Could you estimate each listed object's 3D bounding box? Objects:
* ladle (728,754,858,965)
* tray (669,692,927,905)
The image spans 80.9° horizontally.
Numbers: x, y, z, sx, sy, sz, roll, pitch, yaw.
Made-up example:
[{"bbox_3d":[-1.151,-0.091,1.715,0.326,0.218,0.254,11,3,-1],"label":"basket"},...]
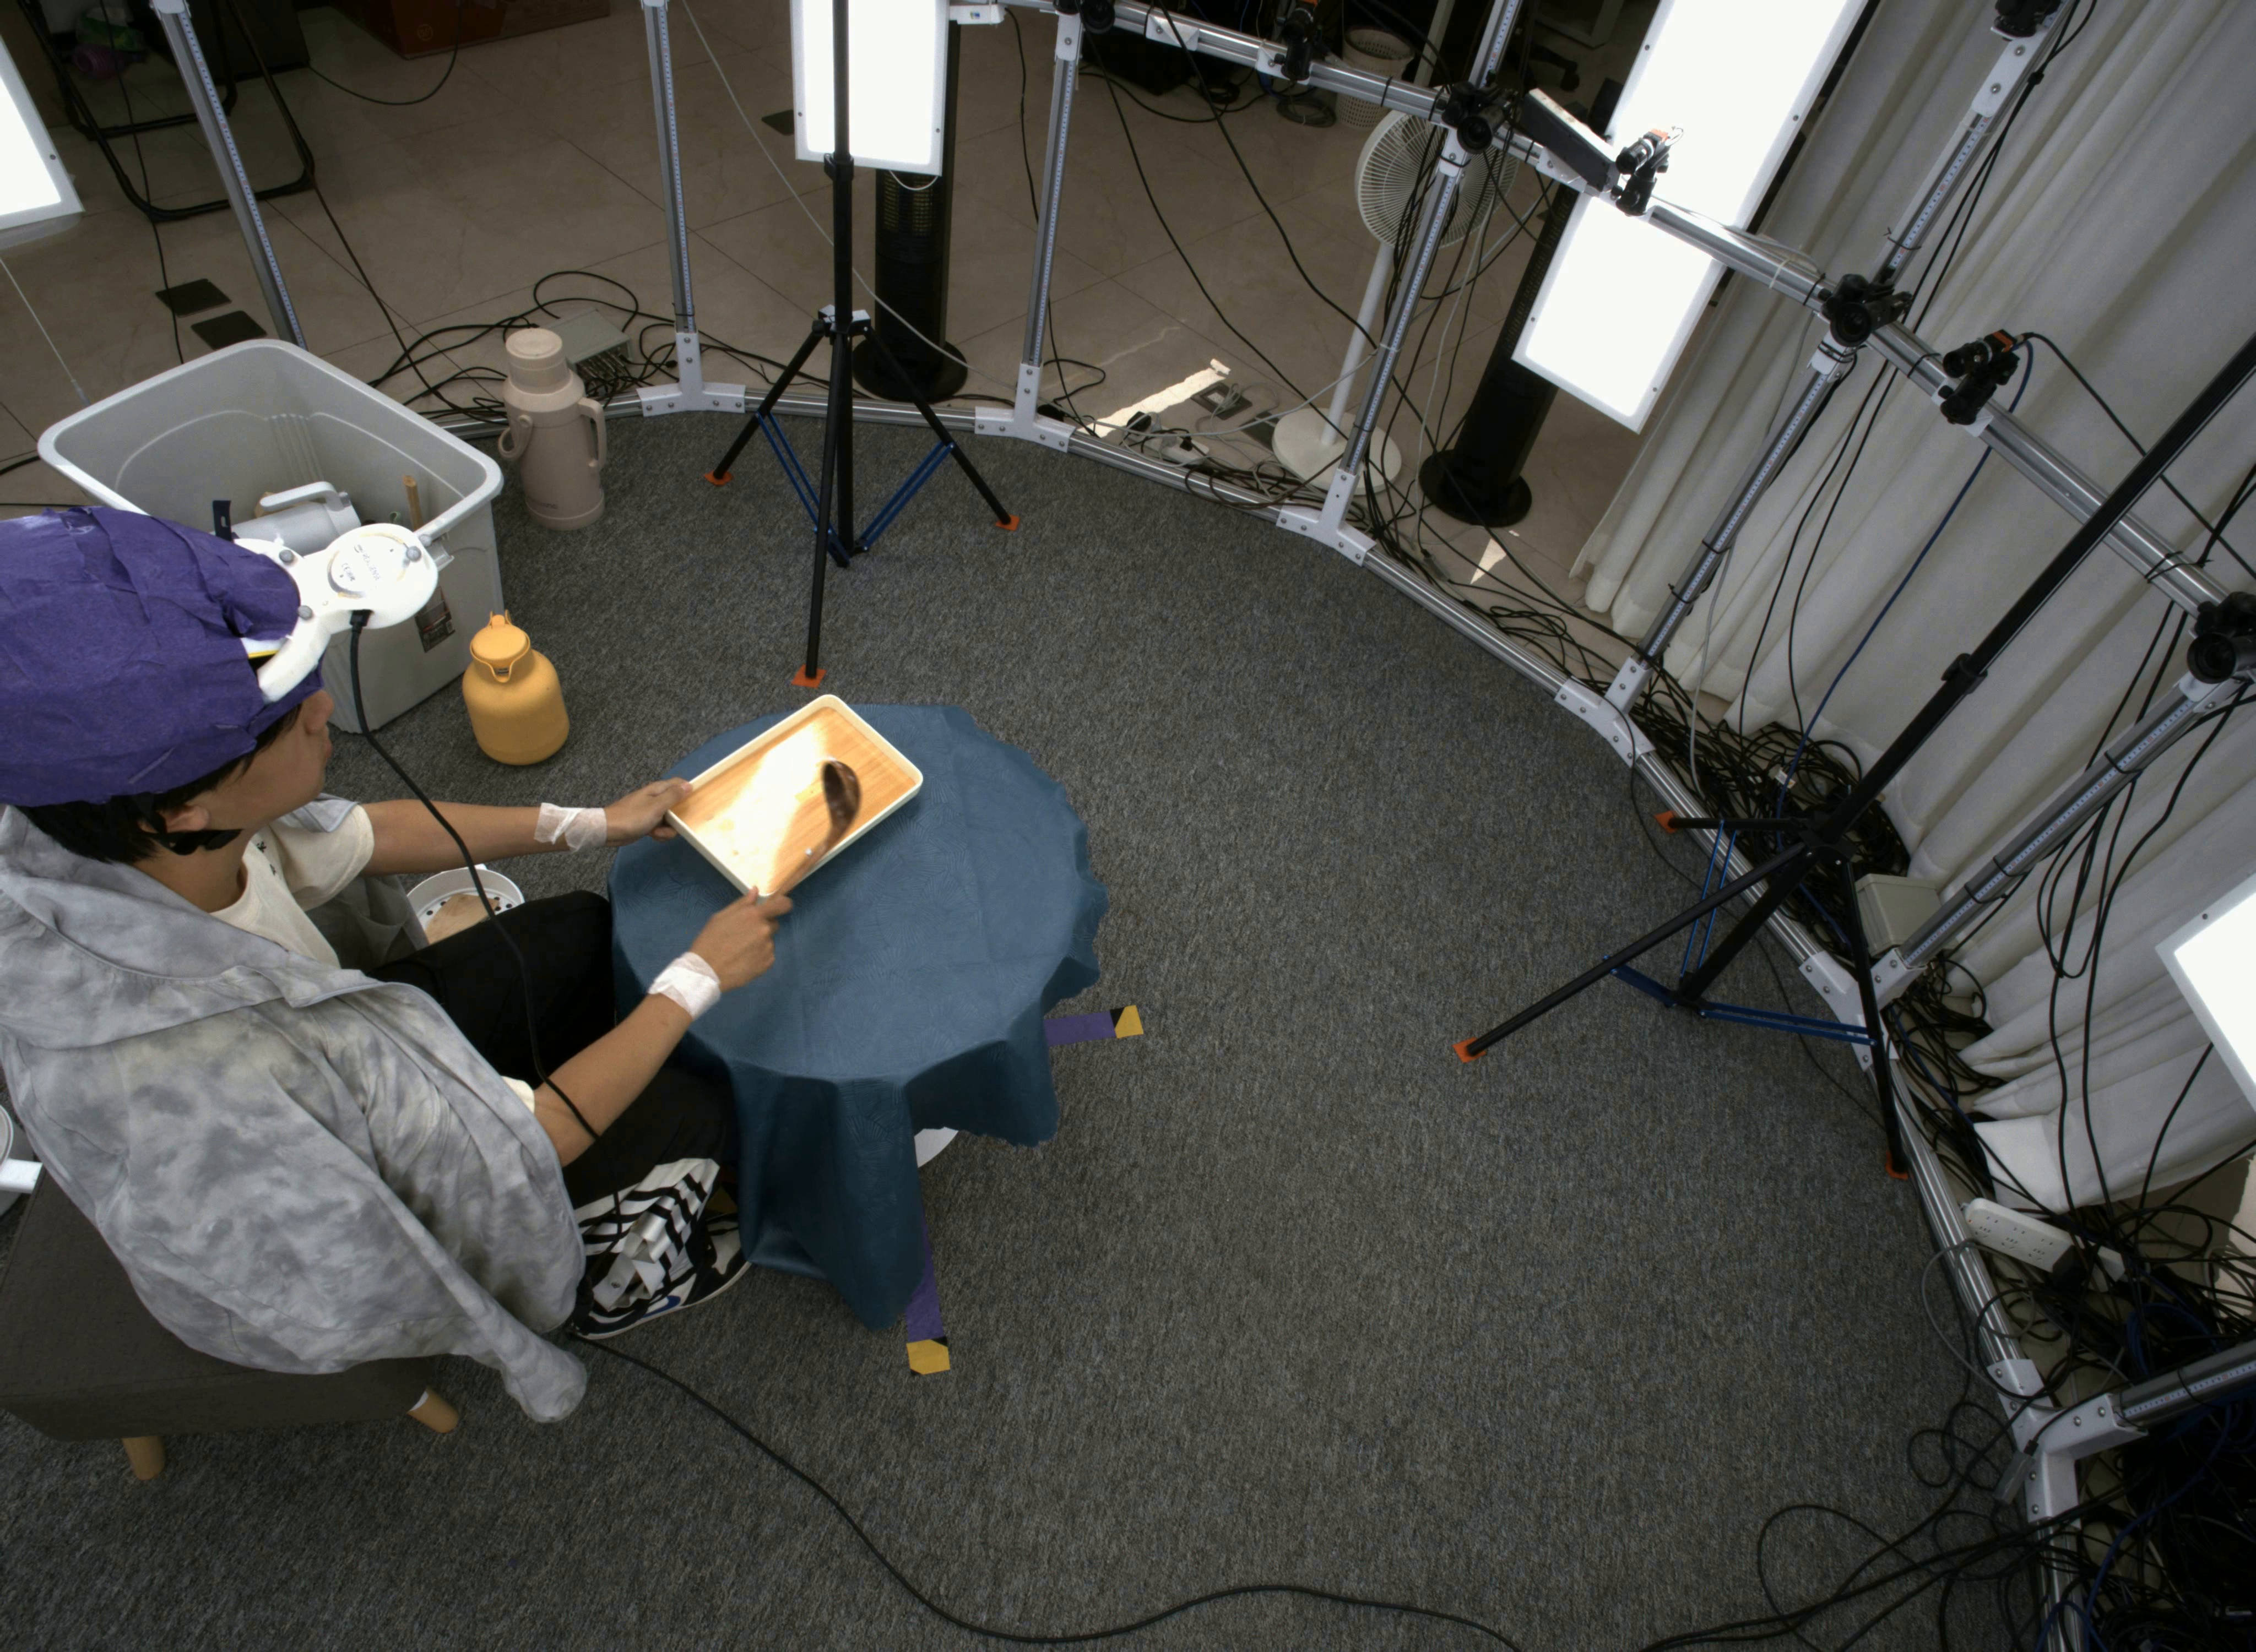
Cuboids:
[{"bbox_3d":[-0.405,0.031,1.521,0.077,0.081,0.273,38,64,-6],"label":"ladle"},{"bbox_3d":[-0.425,-0.042,1.687,0.190,0.027,0.300,43,51,6],"label":"tray"}]
